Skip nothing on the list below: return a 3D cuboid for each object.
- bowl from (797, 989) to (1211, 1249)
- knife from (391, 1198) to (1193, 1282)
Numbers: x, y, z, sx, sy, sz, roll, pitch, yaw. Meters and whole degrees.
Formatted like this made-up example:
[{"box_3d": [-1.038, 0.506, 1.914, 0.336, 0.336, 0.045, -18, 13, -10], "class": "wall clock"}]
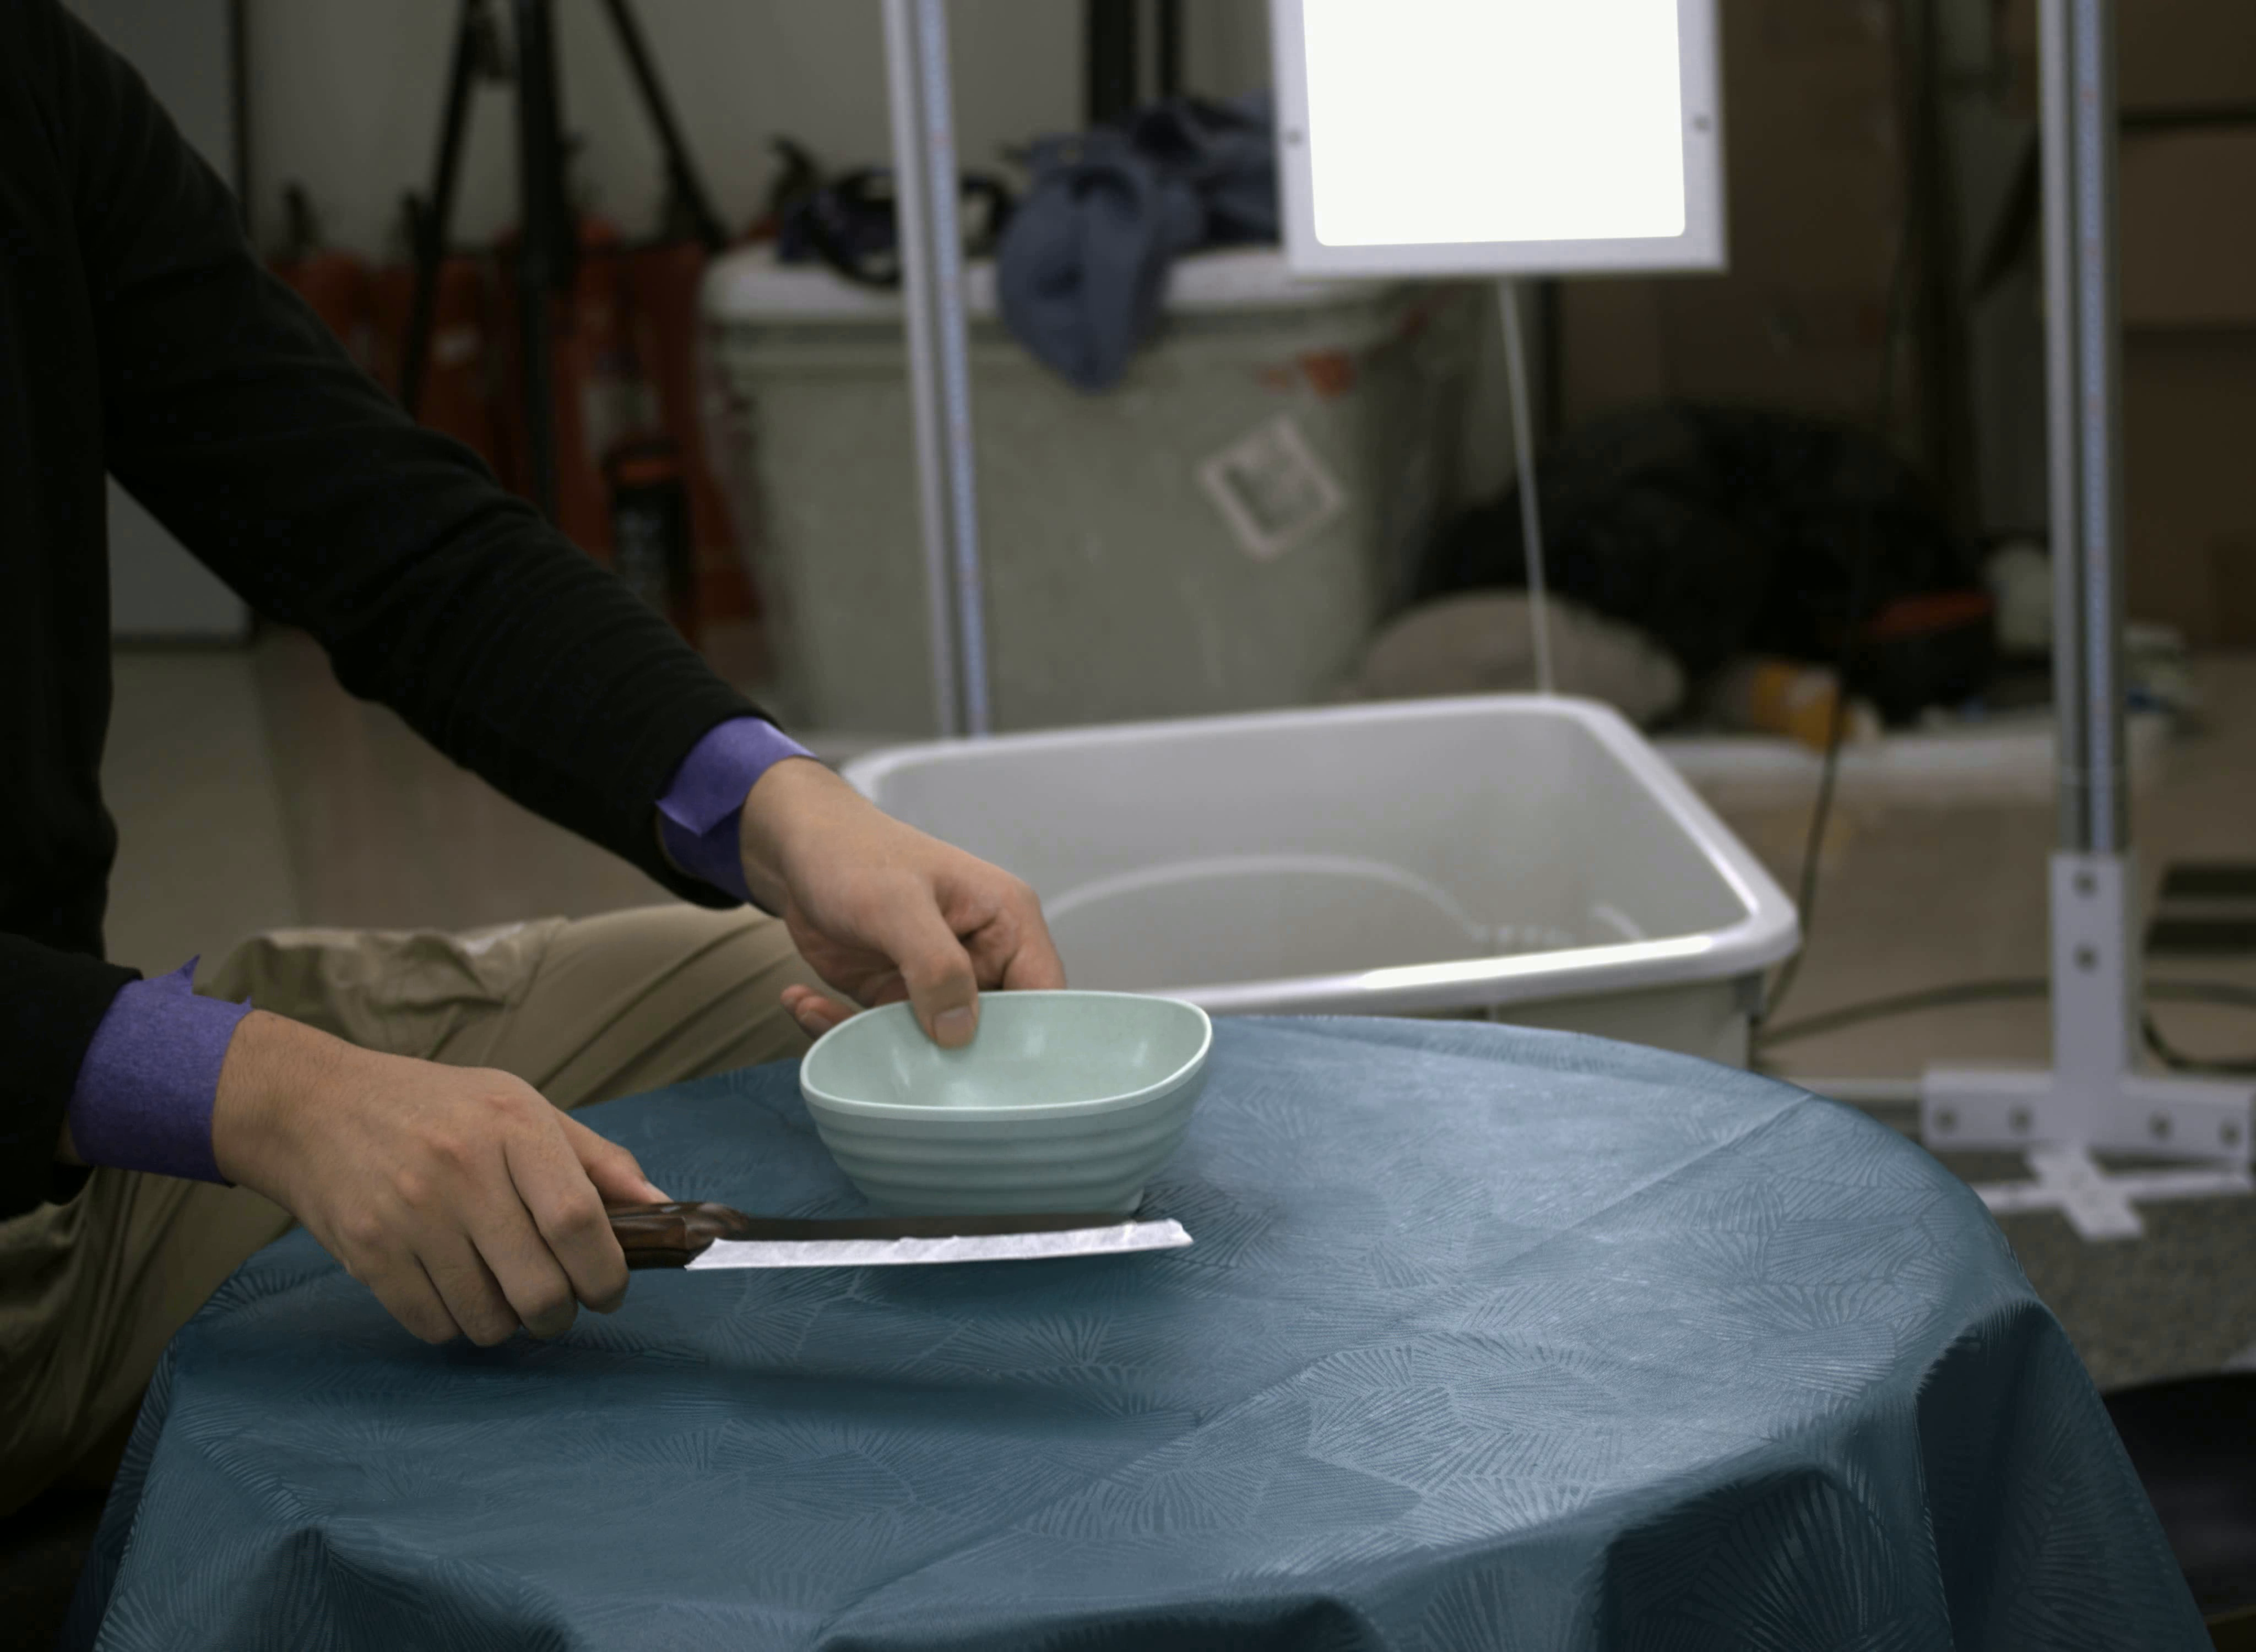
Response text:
[{"box_3d": [-0.041, 0.103, 1.875, 0.151, 0.059, 0.151, -2, 15, -1], "class": "bowl"}, {"box_3d": [-0.111, 0.130, 1.747, 0.294, 0.020, 0.049, -3, 17, 26], "class": "knife"}]
